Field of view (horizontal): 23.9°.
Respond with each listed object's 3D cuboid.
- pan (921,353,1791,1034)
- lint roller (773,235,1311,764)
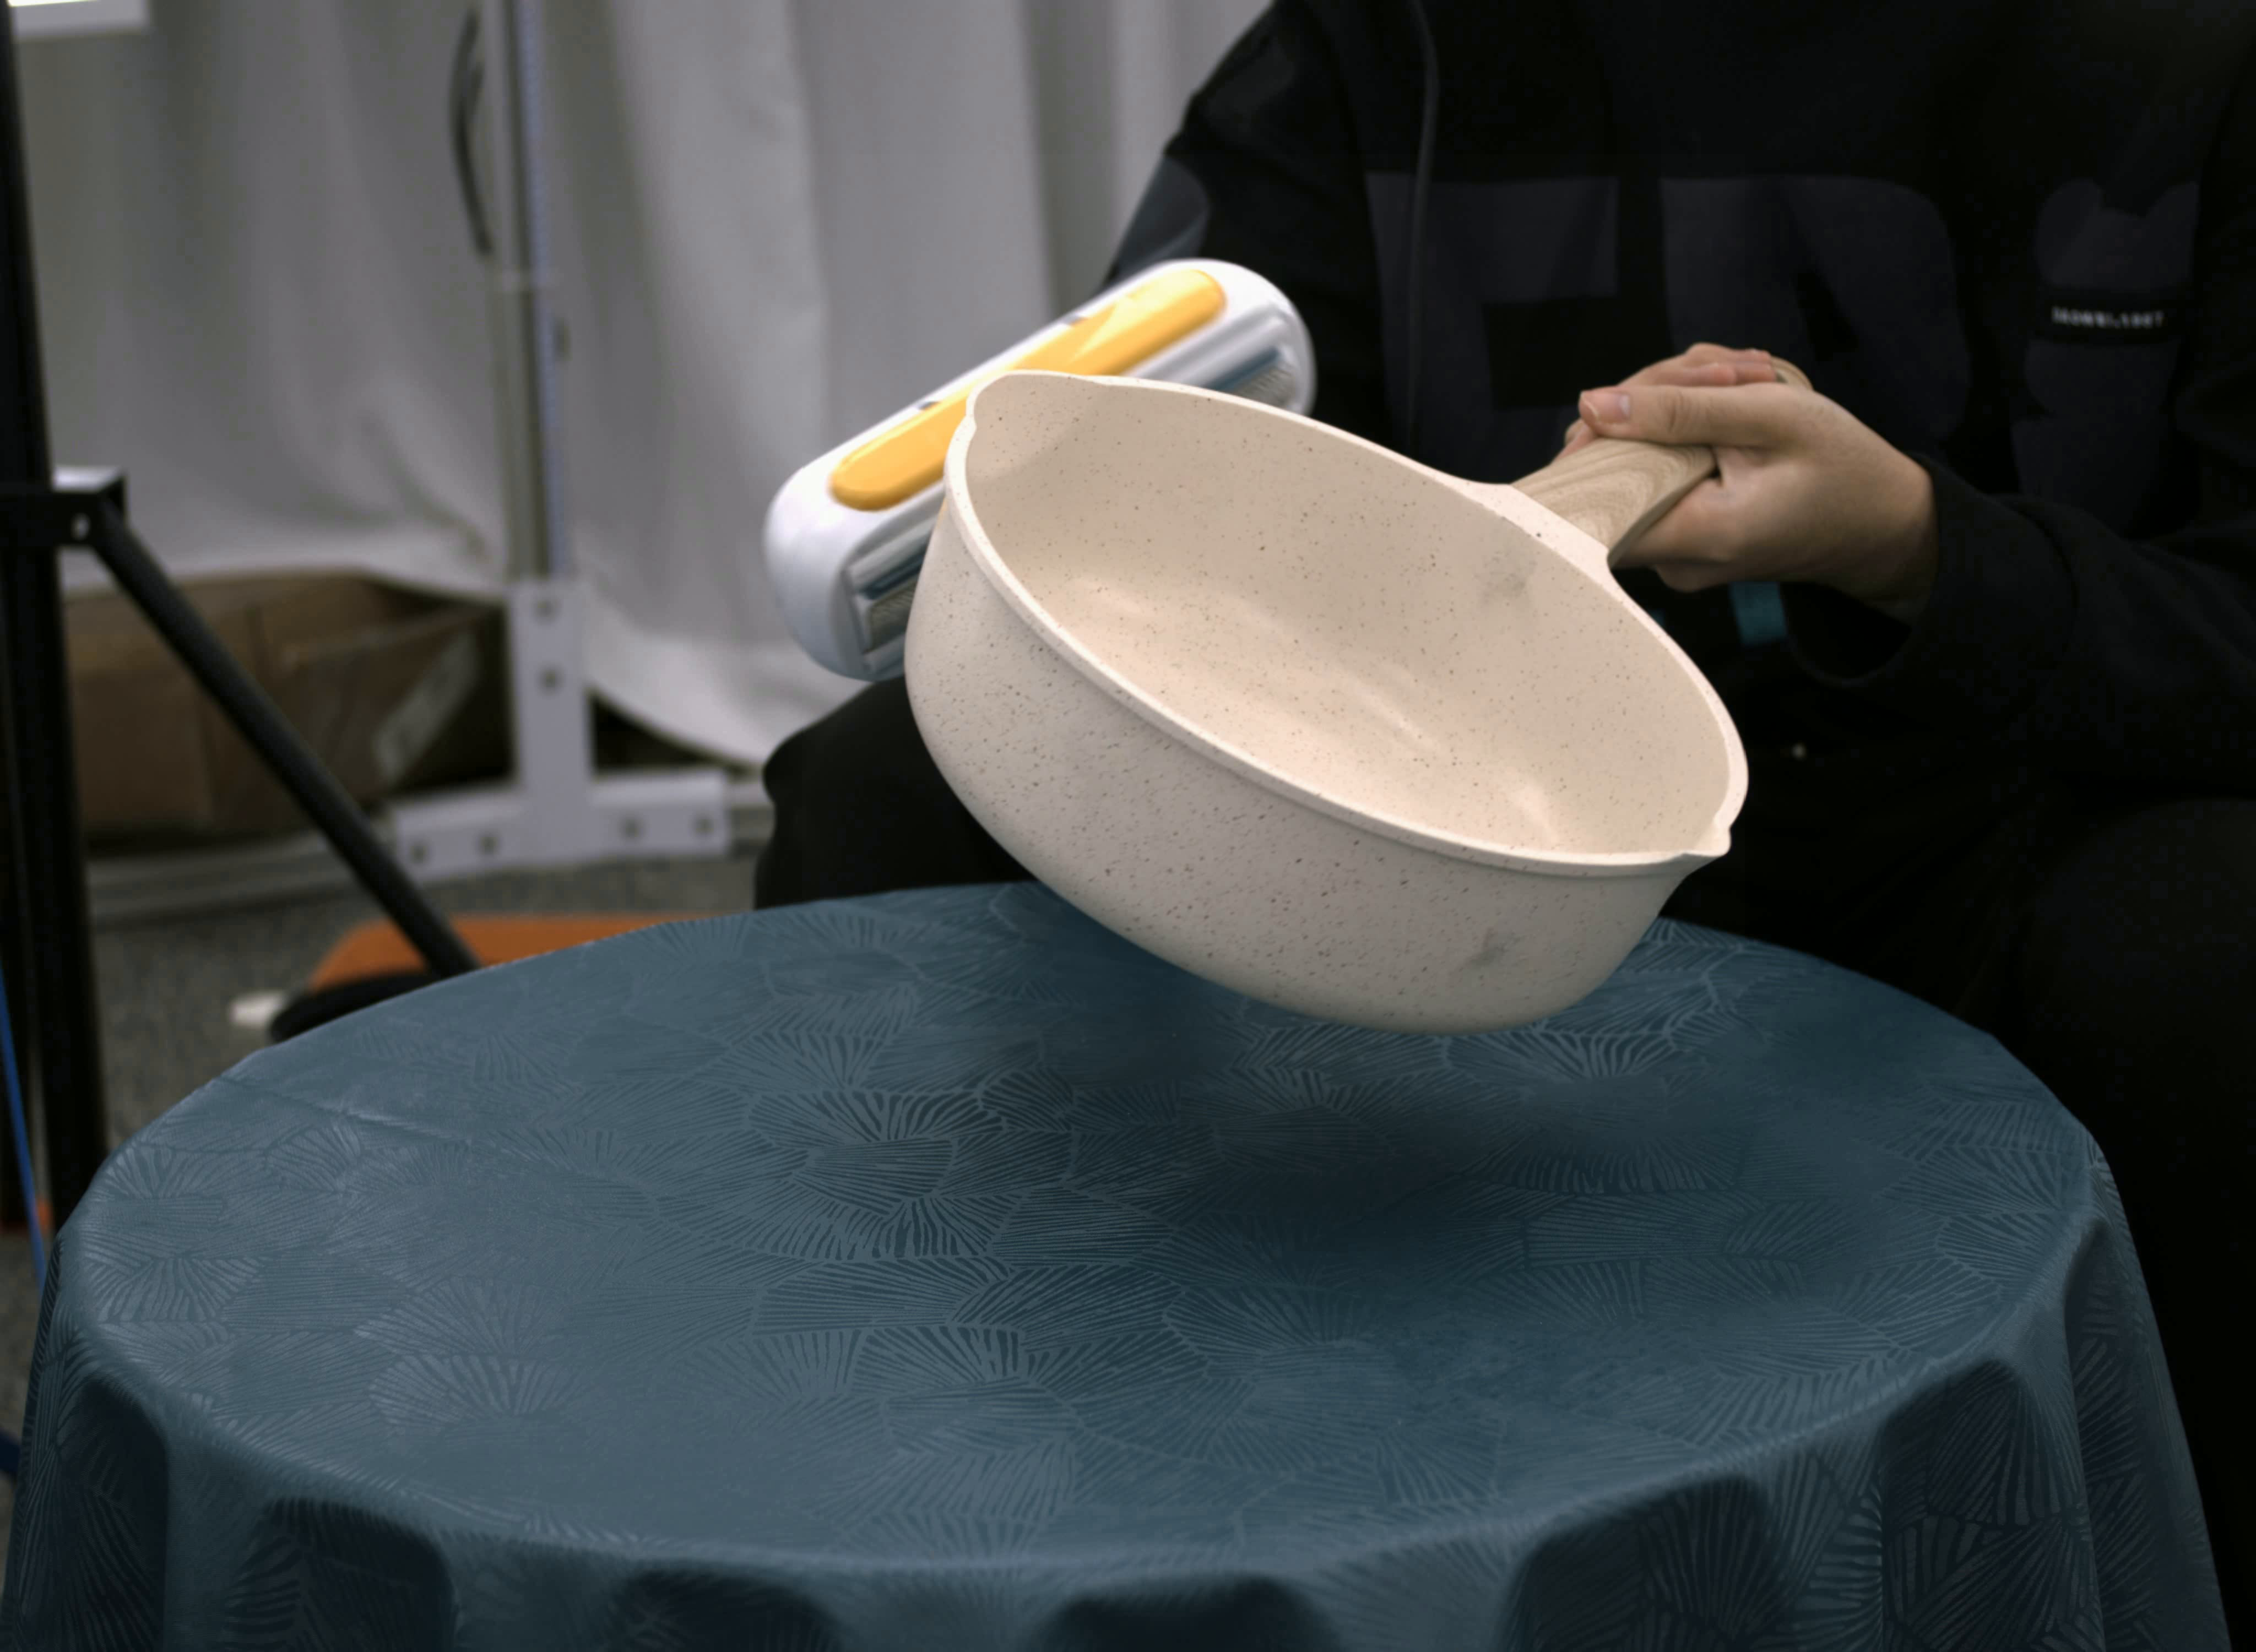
[{"bbox_3d":[0.100,-0.057,1.615,0.267,0.102,0.427,31,27,19],"label":"pan"},{"bbox_3d":[-0.029,-0.082,1.713,0.190,0.191,0.076,-34,54,-25],"label":"lint roller"}]
